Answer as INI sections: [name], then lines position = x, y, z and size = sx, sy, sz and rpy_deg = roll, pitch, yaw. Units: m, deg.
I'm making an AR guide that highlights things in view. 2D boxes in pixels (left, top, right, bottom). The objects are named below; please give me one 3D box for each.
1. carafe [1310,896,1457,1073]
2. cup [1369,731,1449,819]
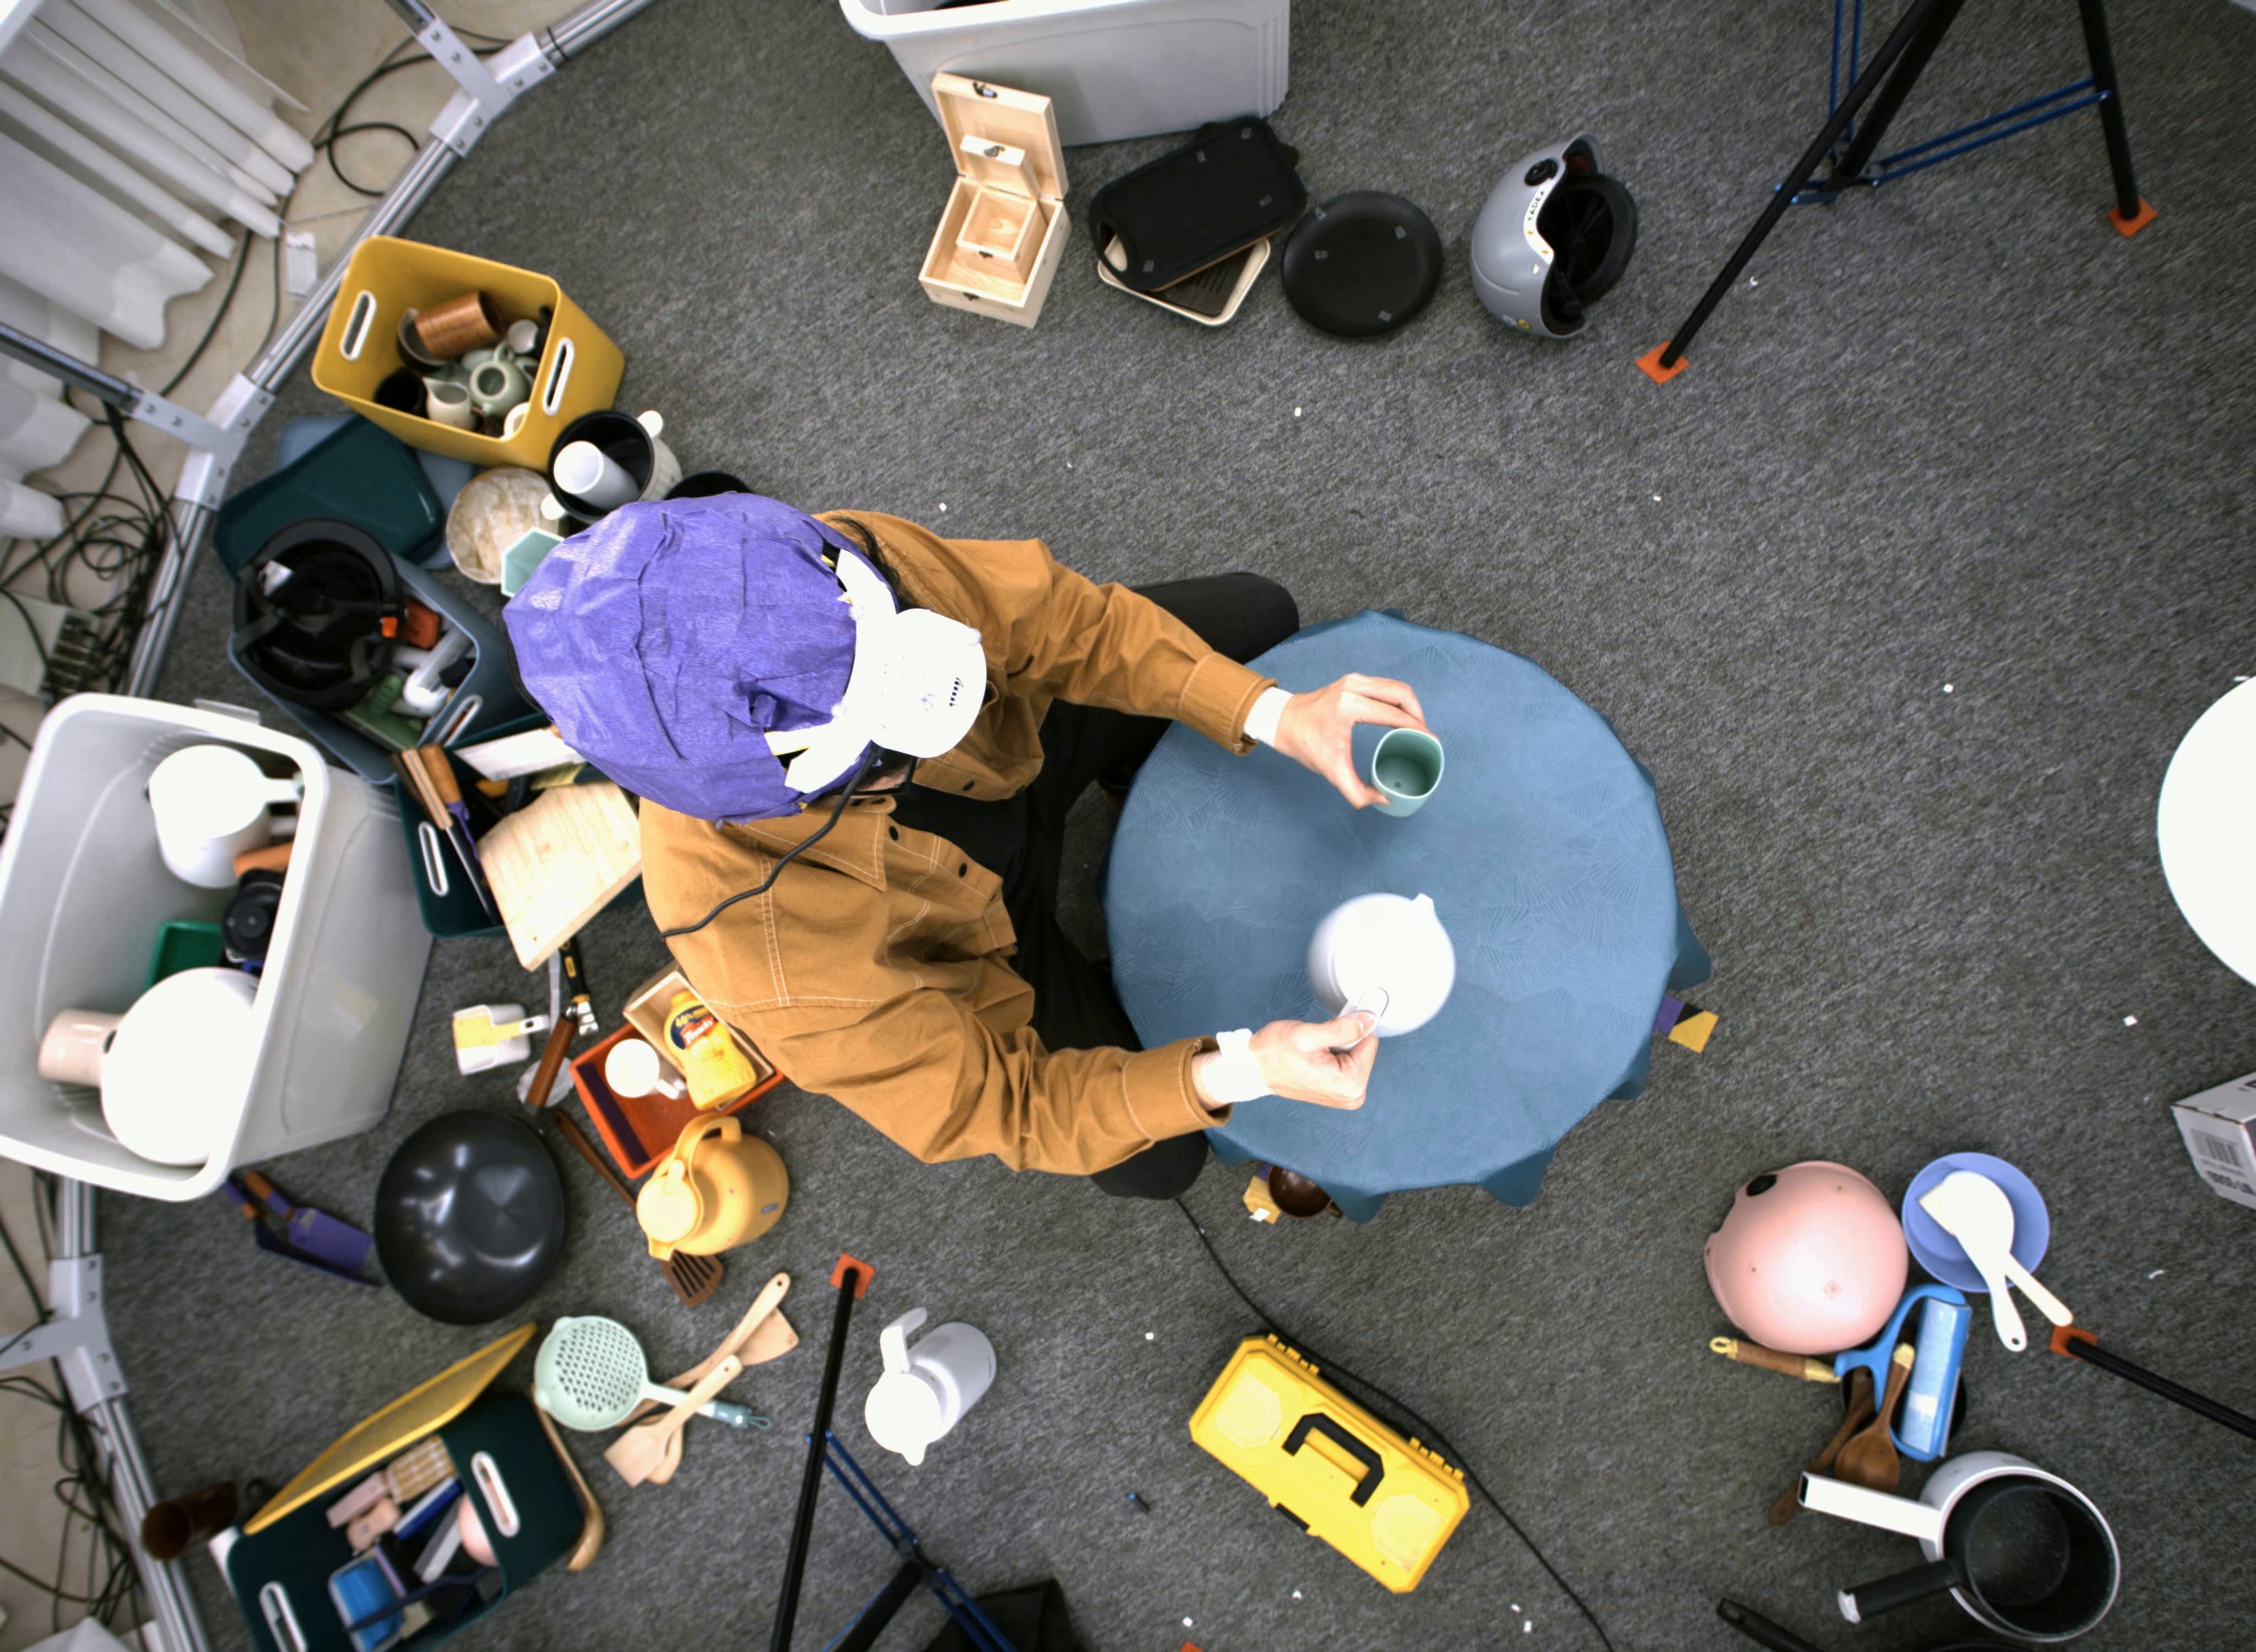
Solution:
[carafe]
position = 0.219, 0.141, 1.225
size = 0.132, 0.249, 0.168
rpy_deg = 32, 91, 9
[cup]
position = 0.264, -0.049, 1.312
size = 0.067, 0.133, 0.066
rpy_deg = -1, 83, 6
